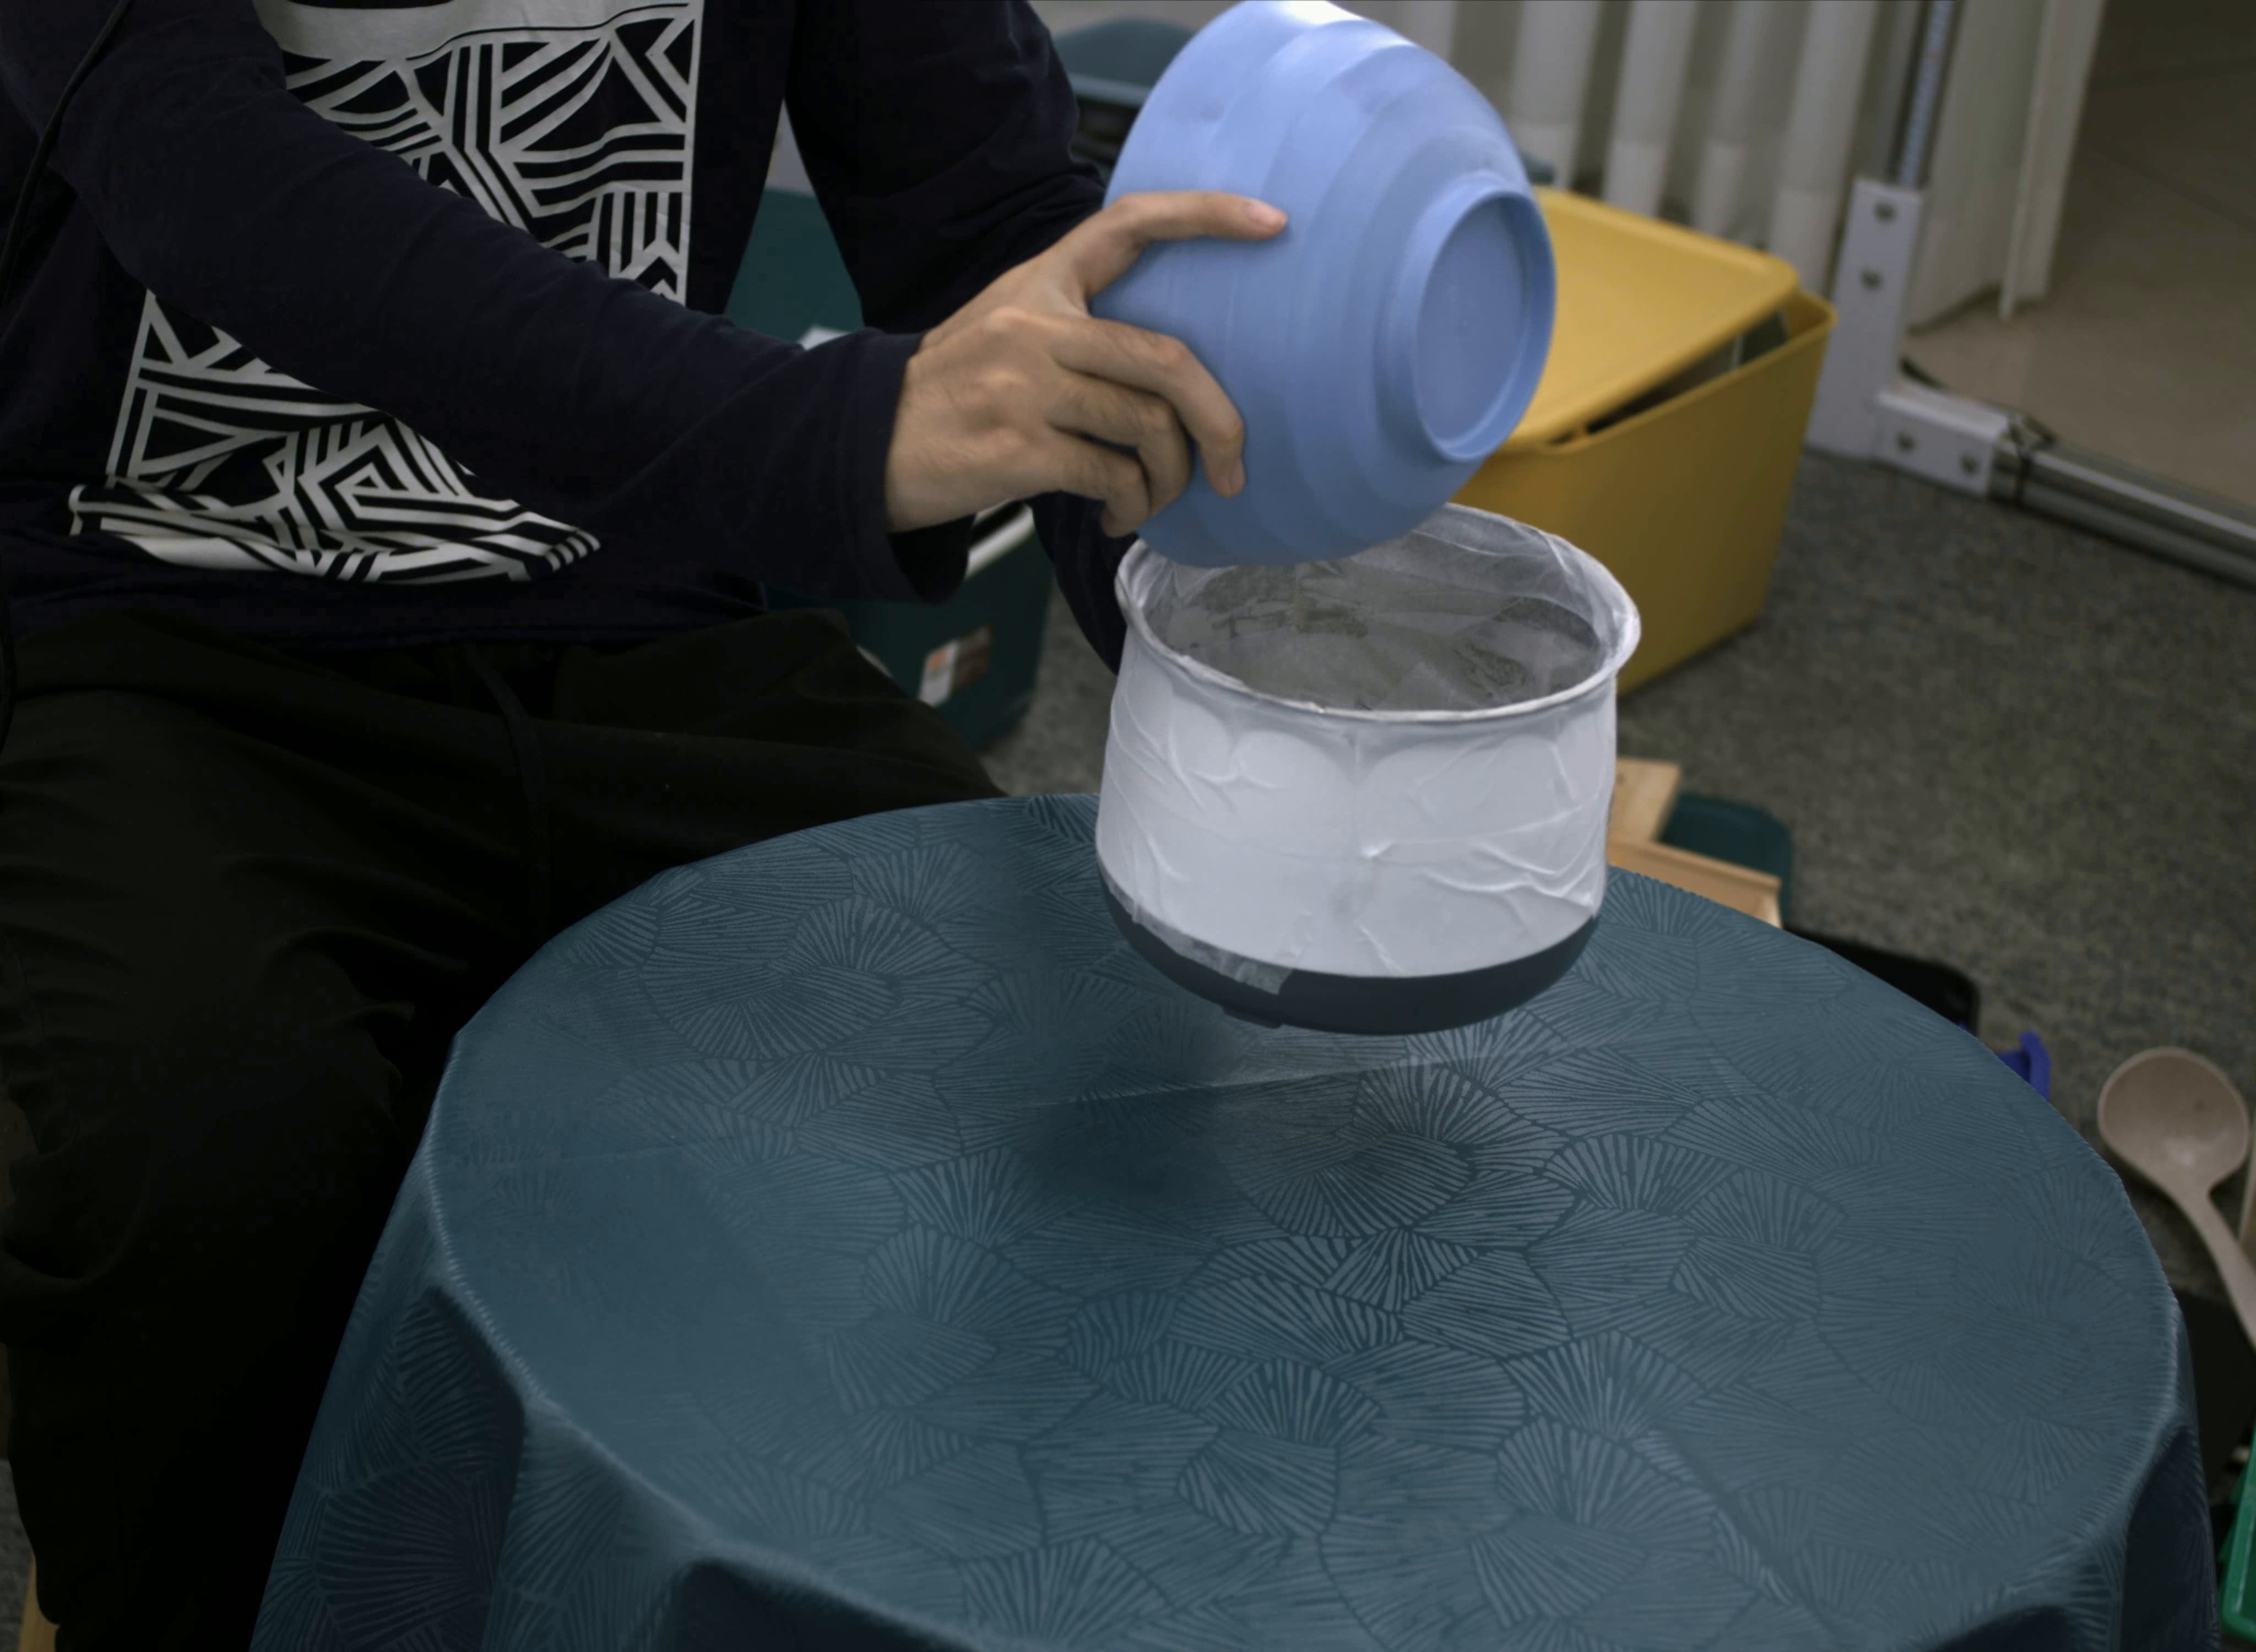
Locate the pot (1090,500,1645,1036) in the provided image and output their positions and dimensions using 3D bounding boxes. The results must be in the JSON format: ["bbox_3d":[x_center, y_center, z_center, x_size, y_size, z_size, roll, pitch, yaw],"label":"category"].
[{"bbox_3d":[0.070,-0.034,1.836,0.177,0.136,0.236,-3,29,-19],"label":"pot"}]

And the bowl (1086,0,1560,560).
[{"bbox_3d":[0.080,-0.175,1.770,0.096,0.196,0.196,16,27,33],"label":"bowl"}]
